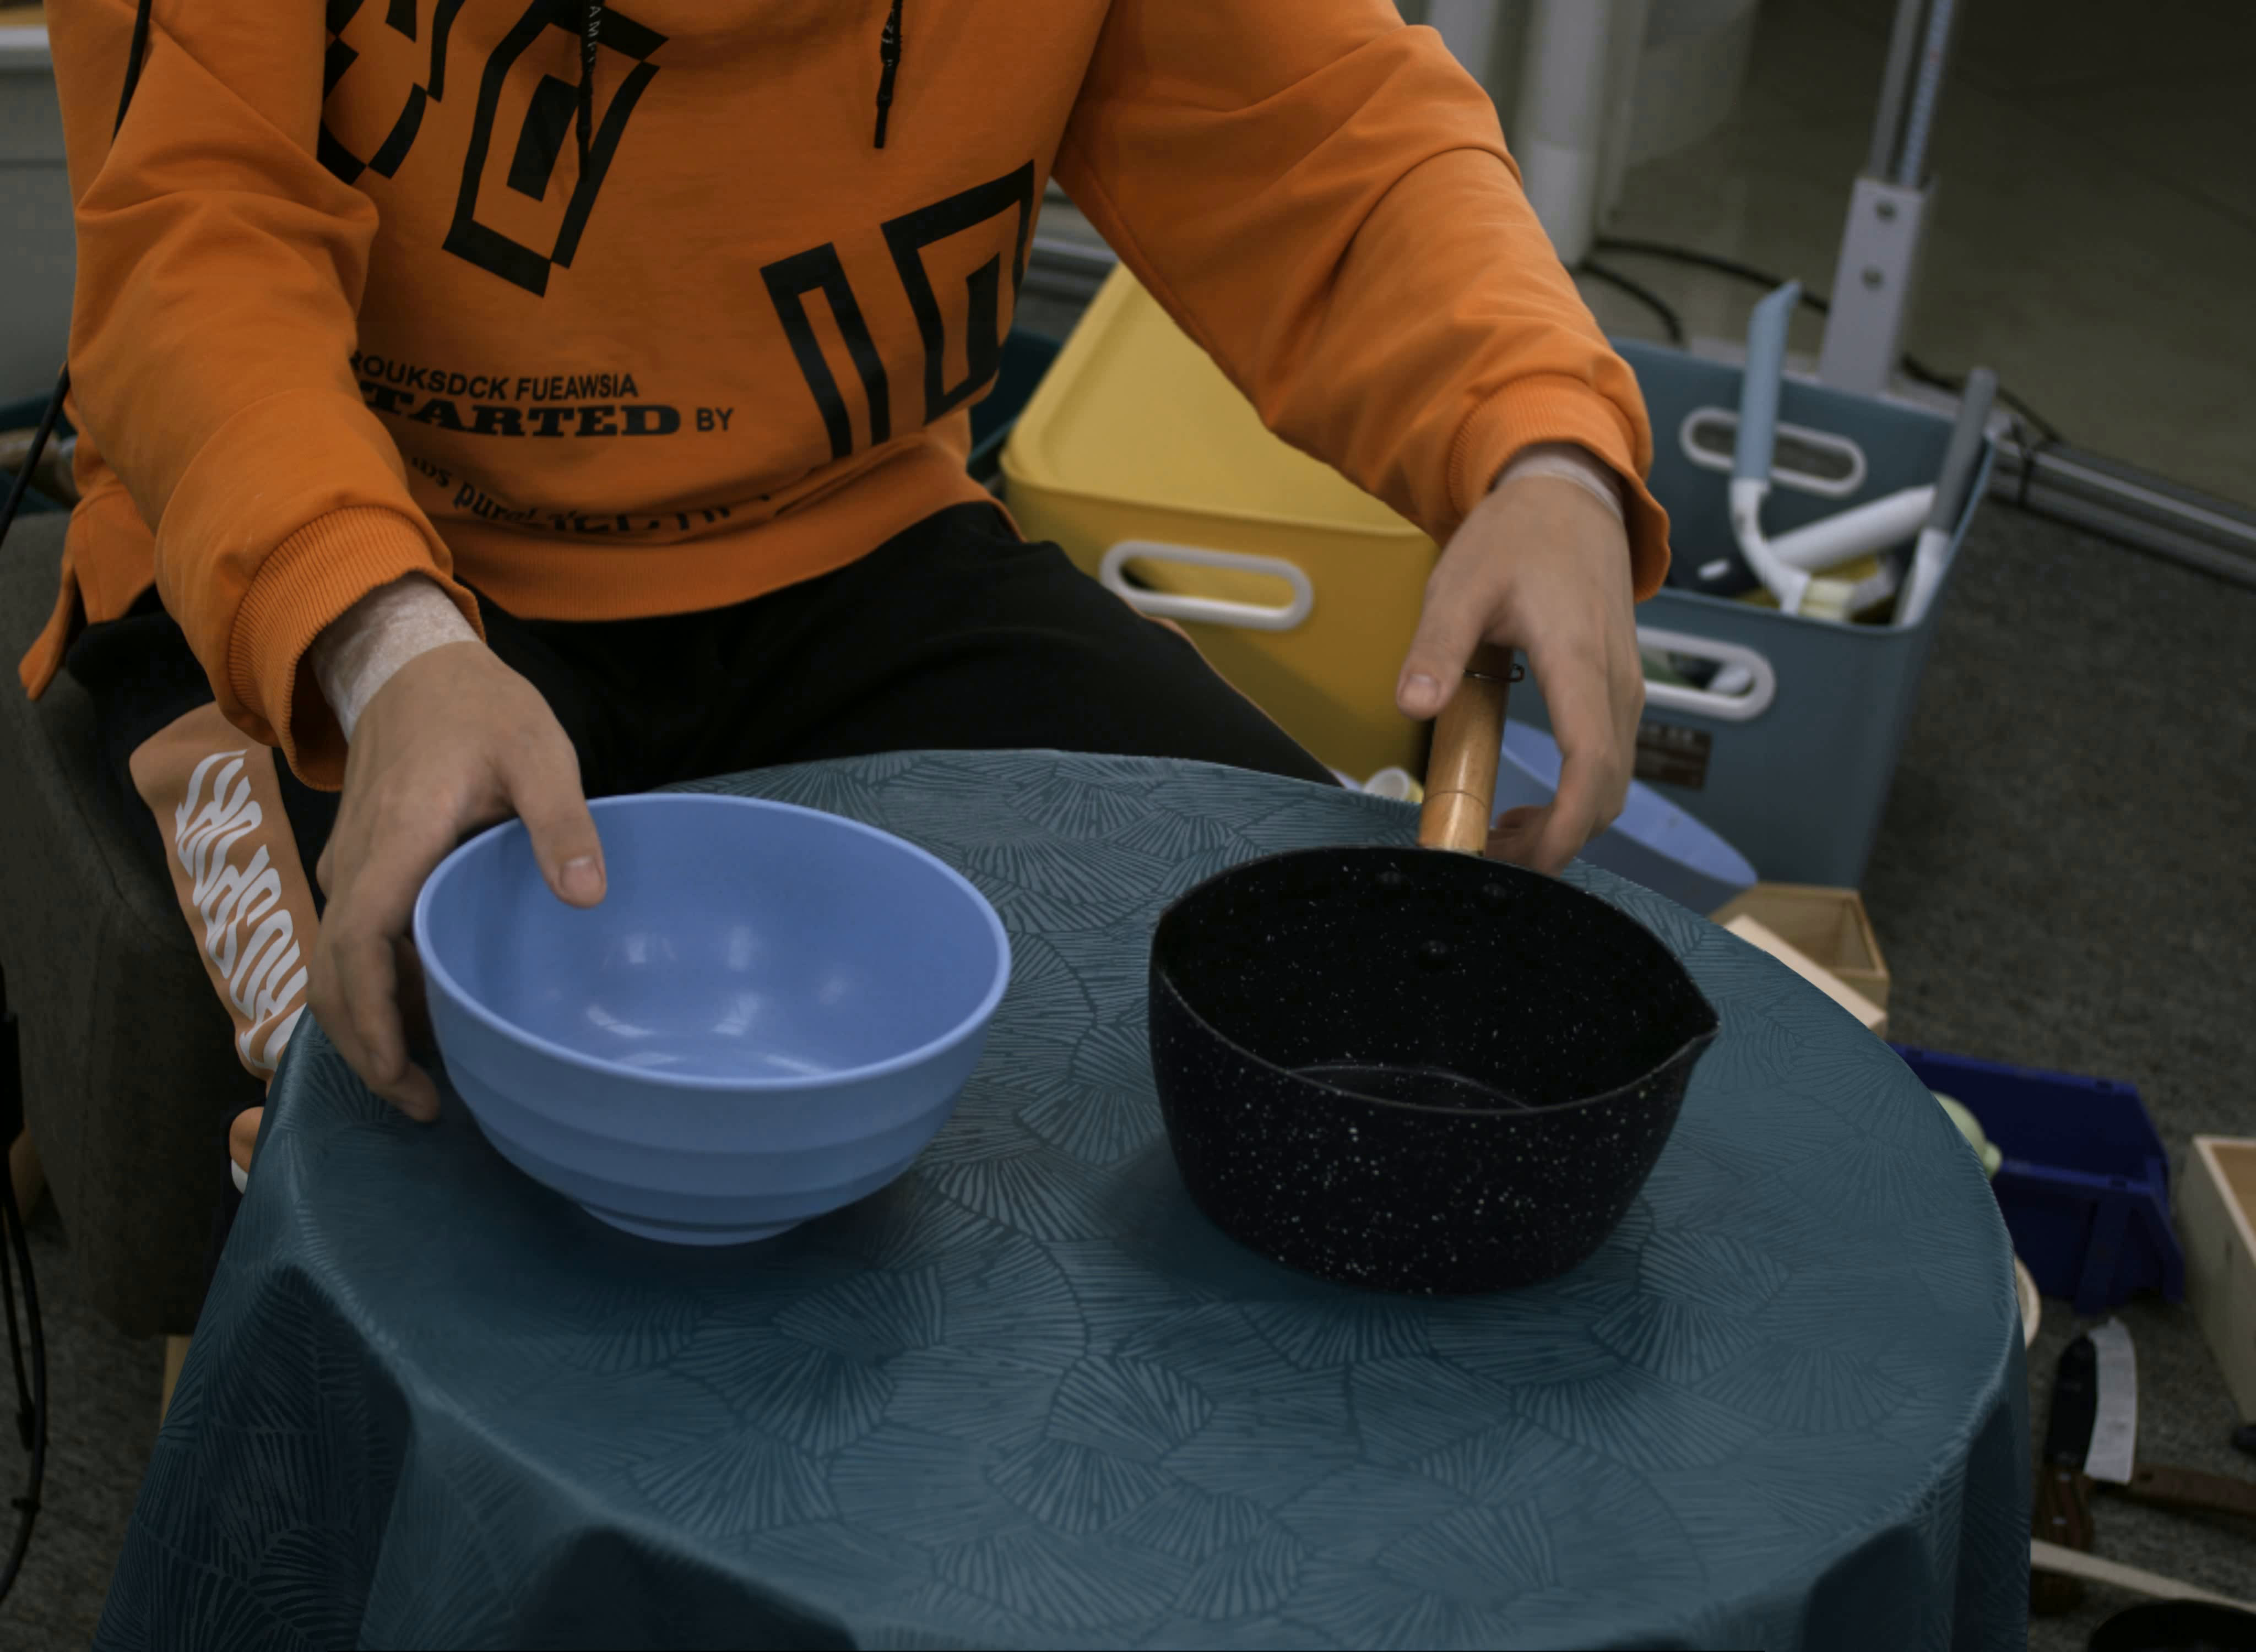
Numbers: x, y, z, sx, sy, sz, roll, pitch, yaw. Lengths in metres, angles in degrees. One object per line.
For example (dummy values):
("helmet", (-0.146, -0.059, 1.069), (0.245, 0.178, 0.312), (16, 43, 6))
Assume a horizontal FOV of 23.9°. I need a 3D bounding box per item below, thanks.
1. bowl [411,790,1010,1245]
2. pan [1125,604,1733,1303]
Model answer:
("bowl", (-0.140, 0.074, 1.761), (0.196, 0.095, 0.198), (5, 28, -3))
("pan", (0.106, 0.040, 1.871), (0.207, 0.108, 0.344), (7, 28, 4))
